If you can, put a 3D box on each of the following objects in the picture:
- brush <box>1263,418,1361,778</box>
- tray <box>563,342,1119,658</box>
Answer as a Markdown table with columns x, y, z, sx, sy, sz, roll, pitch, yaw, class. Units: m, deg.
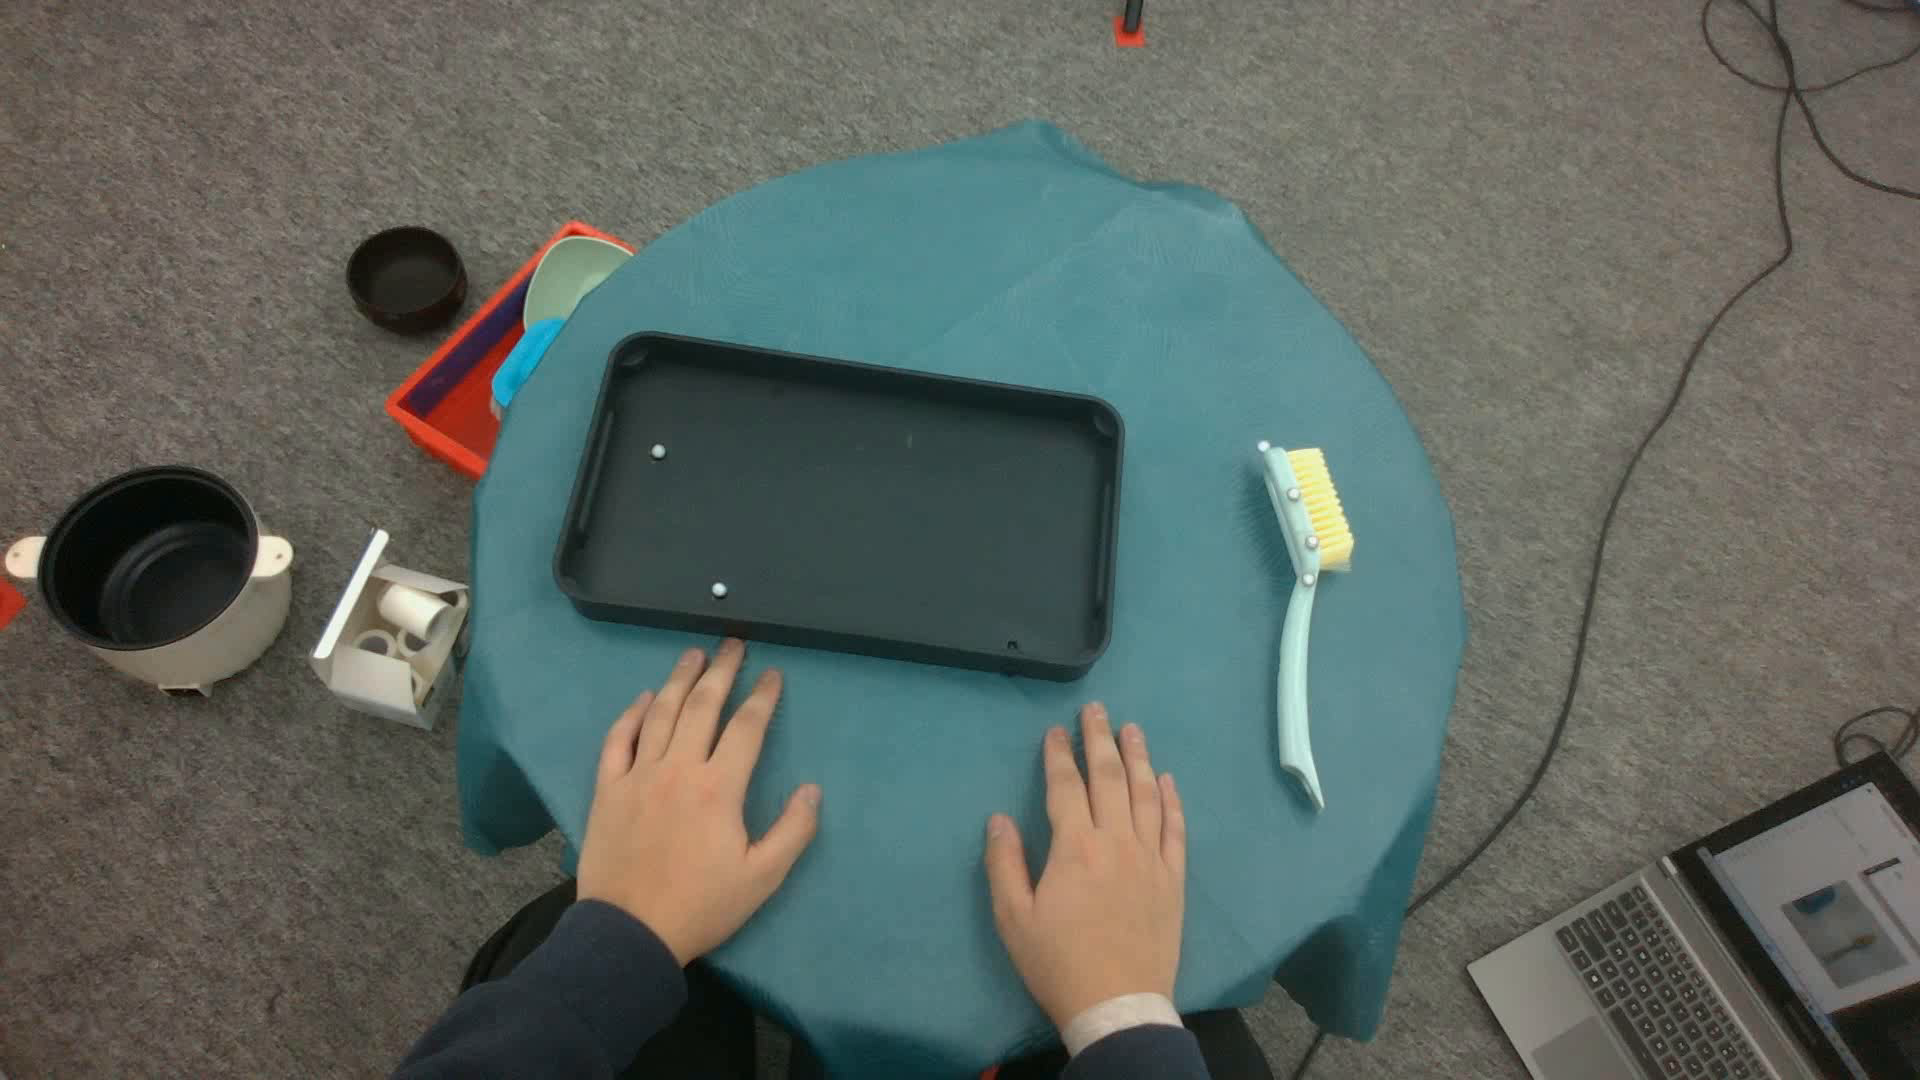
| x | y | z | sx | sy | sz | roll | pitch | yaw | class |
| --- | --- | --- | --- | --- | --- | --- | --- | --- | --- |
| 0.219 | 0.028 | 0.822 | 0.049 | 0.037 | 0.229 | -3 | 64 | 3 | brush |
| -0.065 | -0.025 | 0.830 | 0.318 | 0.037 | 0.185 | 3 | 65 | -2 | tray |
